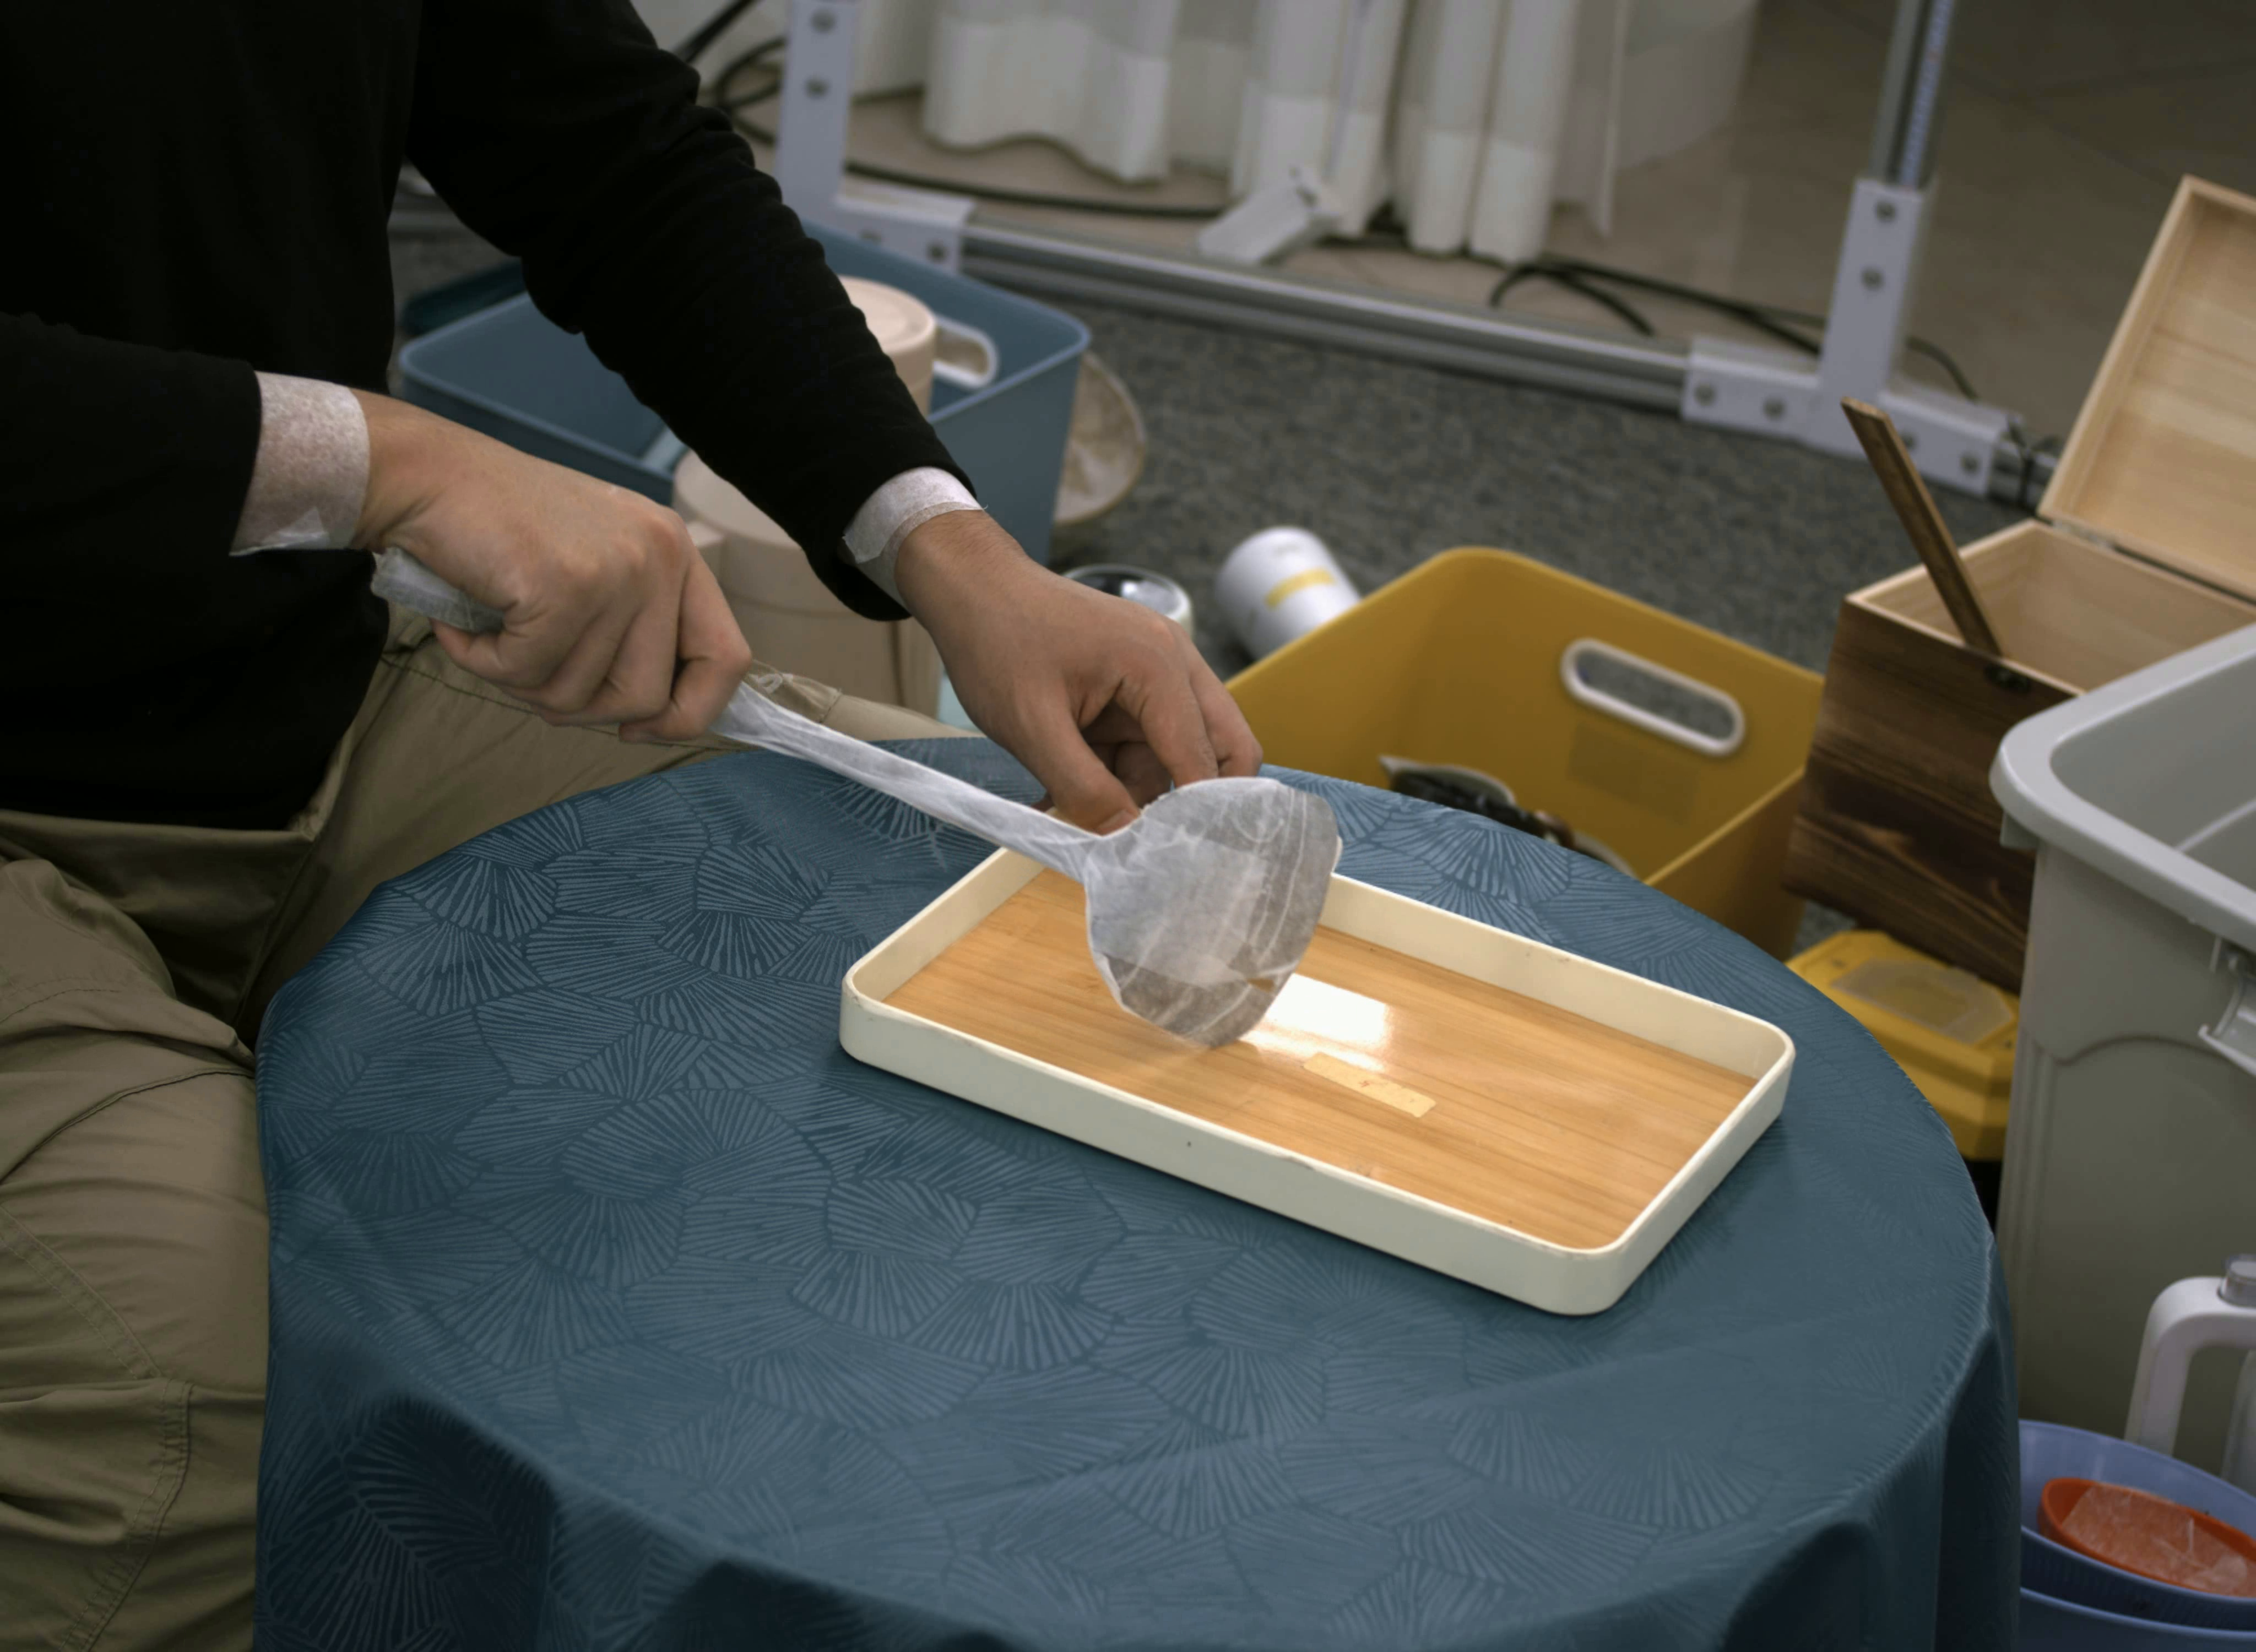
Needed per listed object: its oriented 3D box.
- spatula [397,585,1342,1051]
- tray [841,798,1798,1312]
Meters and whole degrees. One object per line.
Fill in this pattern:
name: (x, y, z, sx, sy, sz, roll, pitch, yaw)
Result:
spatula: (-0.083, -0.017, 1.806, 0.362, 0.099, 0.045, 22, 5, -21)
tray: (0.068, 0.076, 1.877, 0.301, 0.027, 0.191, 19, 30, 23)
